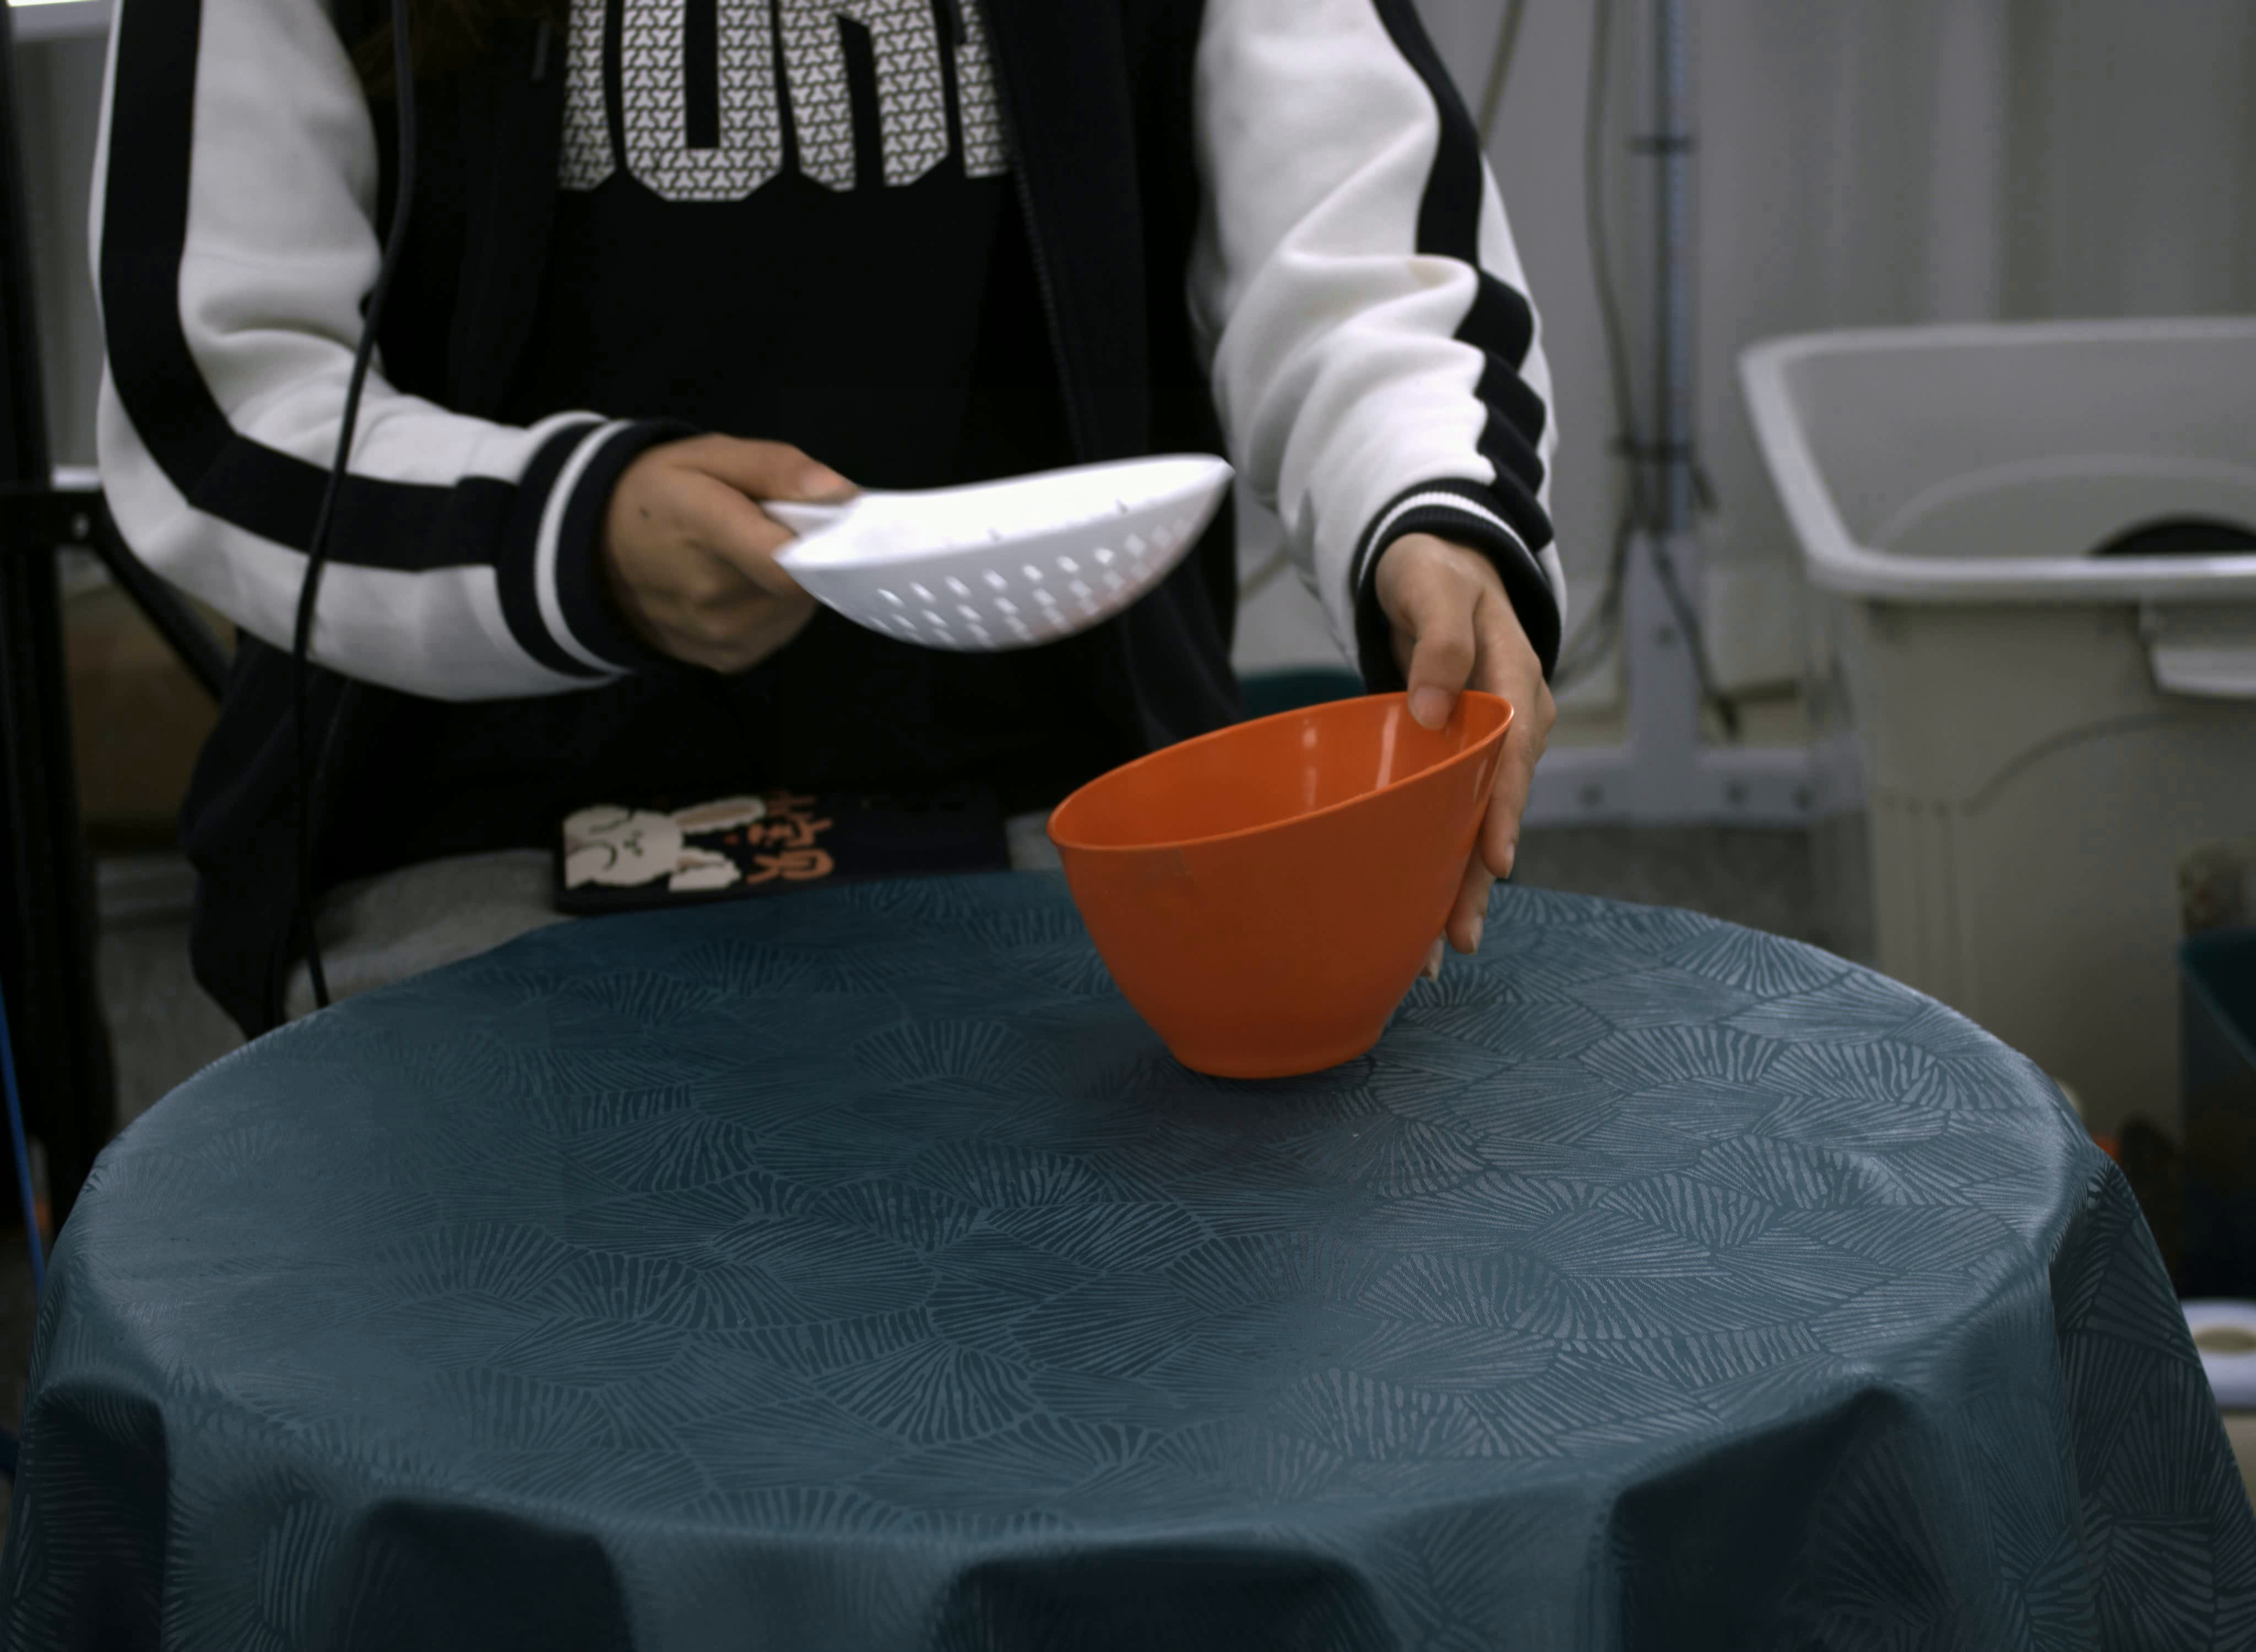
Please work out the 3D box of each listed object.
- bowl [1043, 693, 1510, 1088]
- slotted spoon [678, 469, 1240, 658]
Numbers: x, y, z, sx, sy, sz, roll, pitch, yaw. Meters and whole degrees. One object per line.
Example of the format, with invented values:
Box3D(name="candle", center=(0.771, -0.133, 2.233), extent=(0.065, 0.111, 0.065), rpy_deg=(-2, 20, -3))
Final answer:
Box3D(name="bowl", center=(0.050, 0.022, 1.646), extent=(0.147, 0.104, 0.149), rpy_deg=(-8, 18, 1))
Box3D(name="slotted spoon", center=(-0.075, -0.093, 1.670), extent=(0.133, 0.045, 0.356), rpy_deg=(-15, 16, -21))
